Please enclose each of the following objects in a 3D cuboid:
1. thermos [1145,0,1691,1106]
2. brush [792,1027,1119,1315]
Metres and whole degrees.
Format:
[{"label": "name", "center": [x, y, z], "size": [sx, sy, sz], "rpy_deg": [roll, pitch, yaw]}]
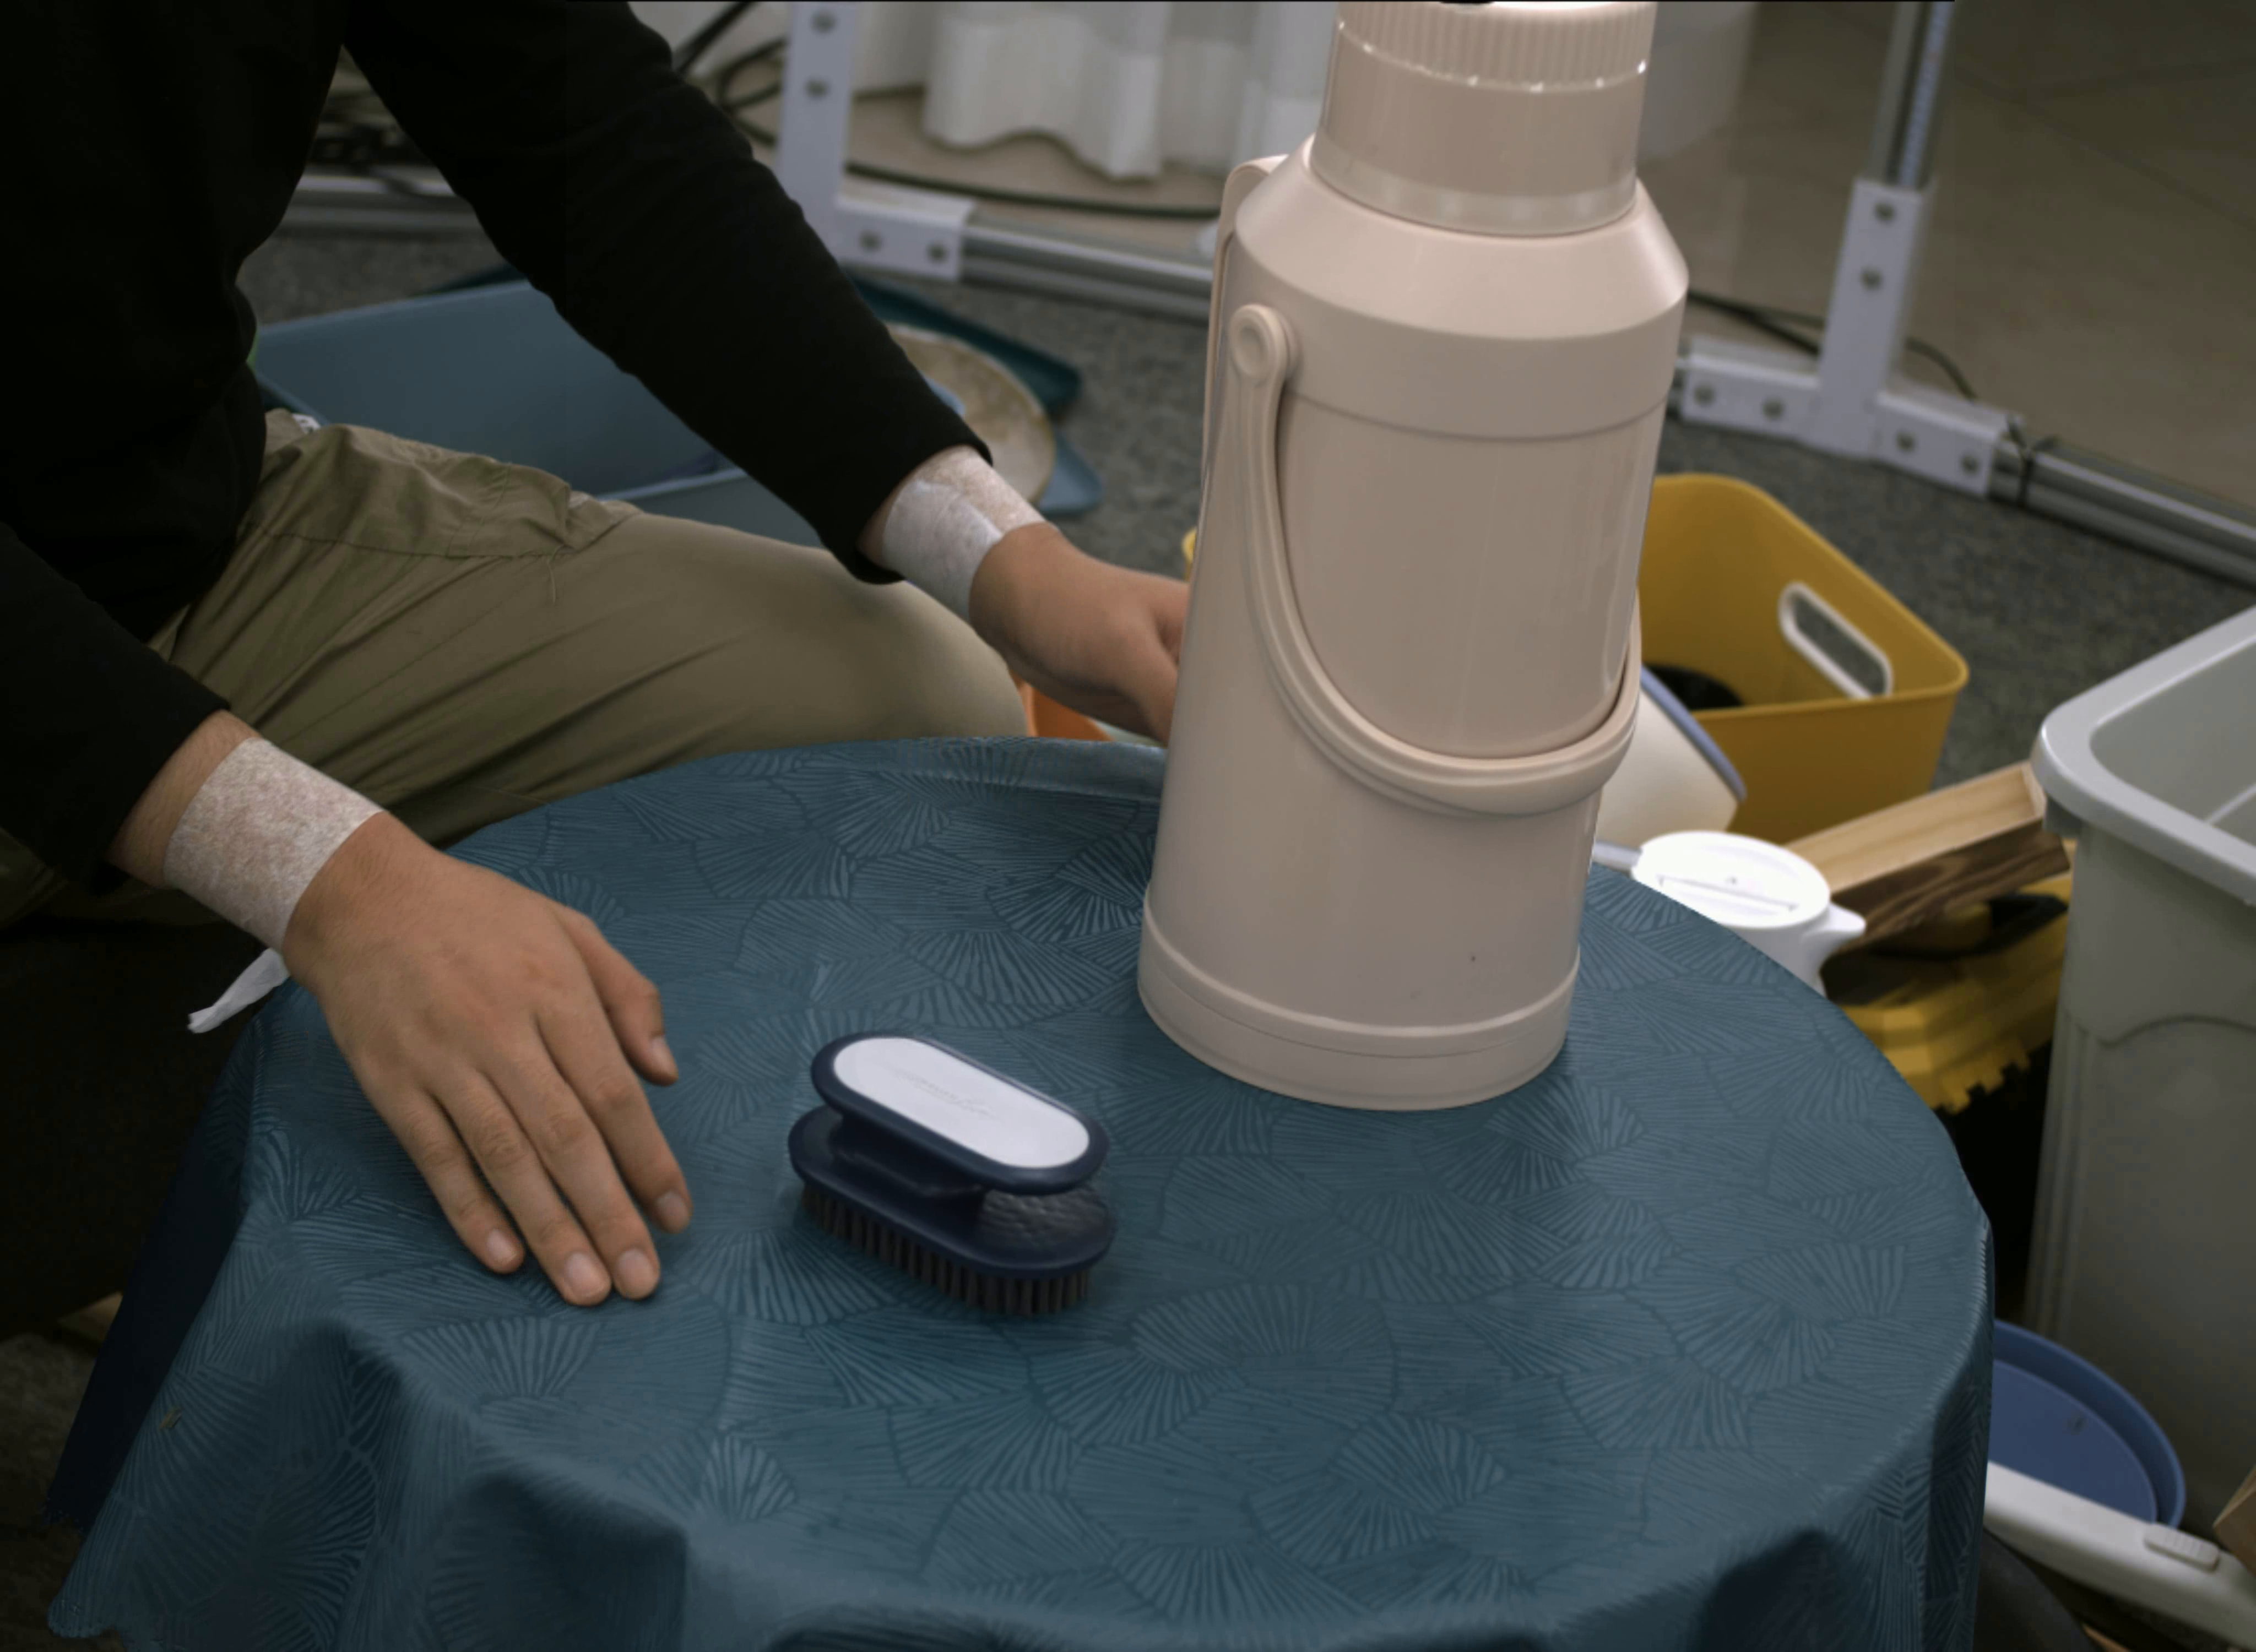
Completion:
[{"label": "thermos", "center": [0.097, -0.118, 1.862], "size": [0.174, 0.405, 0.209], "rpy_deg": [-15, 34, -34]}, {"label": "brush", "center": [-0.057, 0.115, 1.746], "size": [0.122, 0.061, 0.067], "rpy_deg": [26, 30, 32]}]
